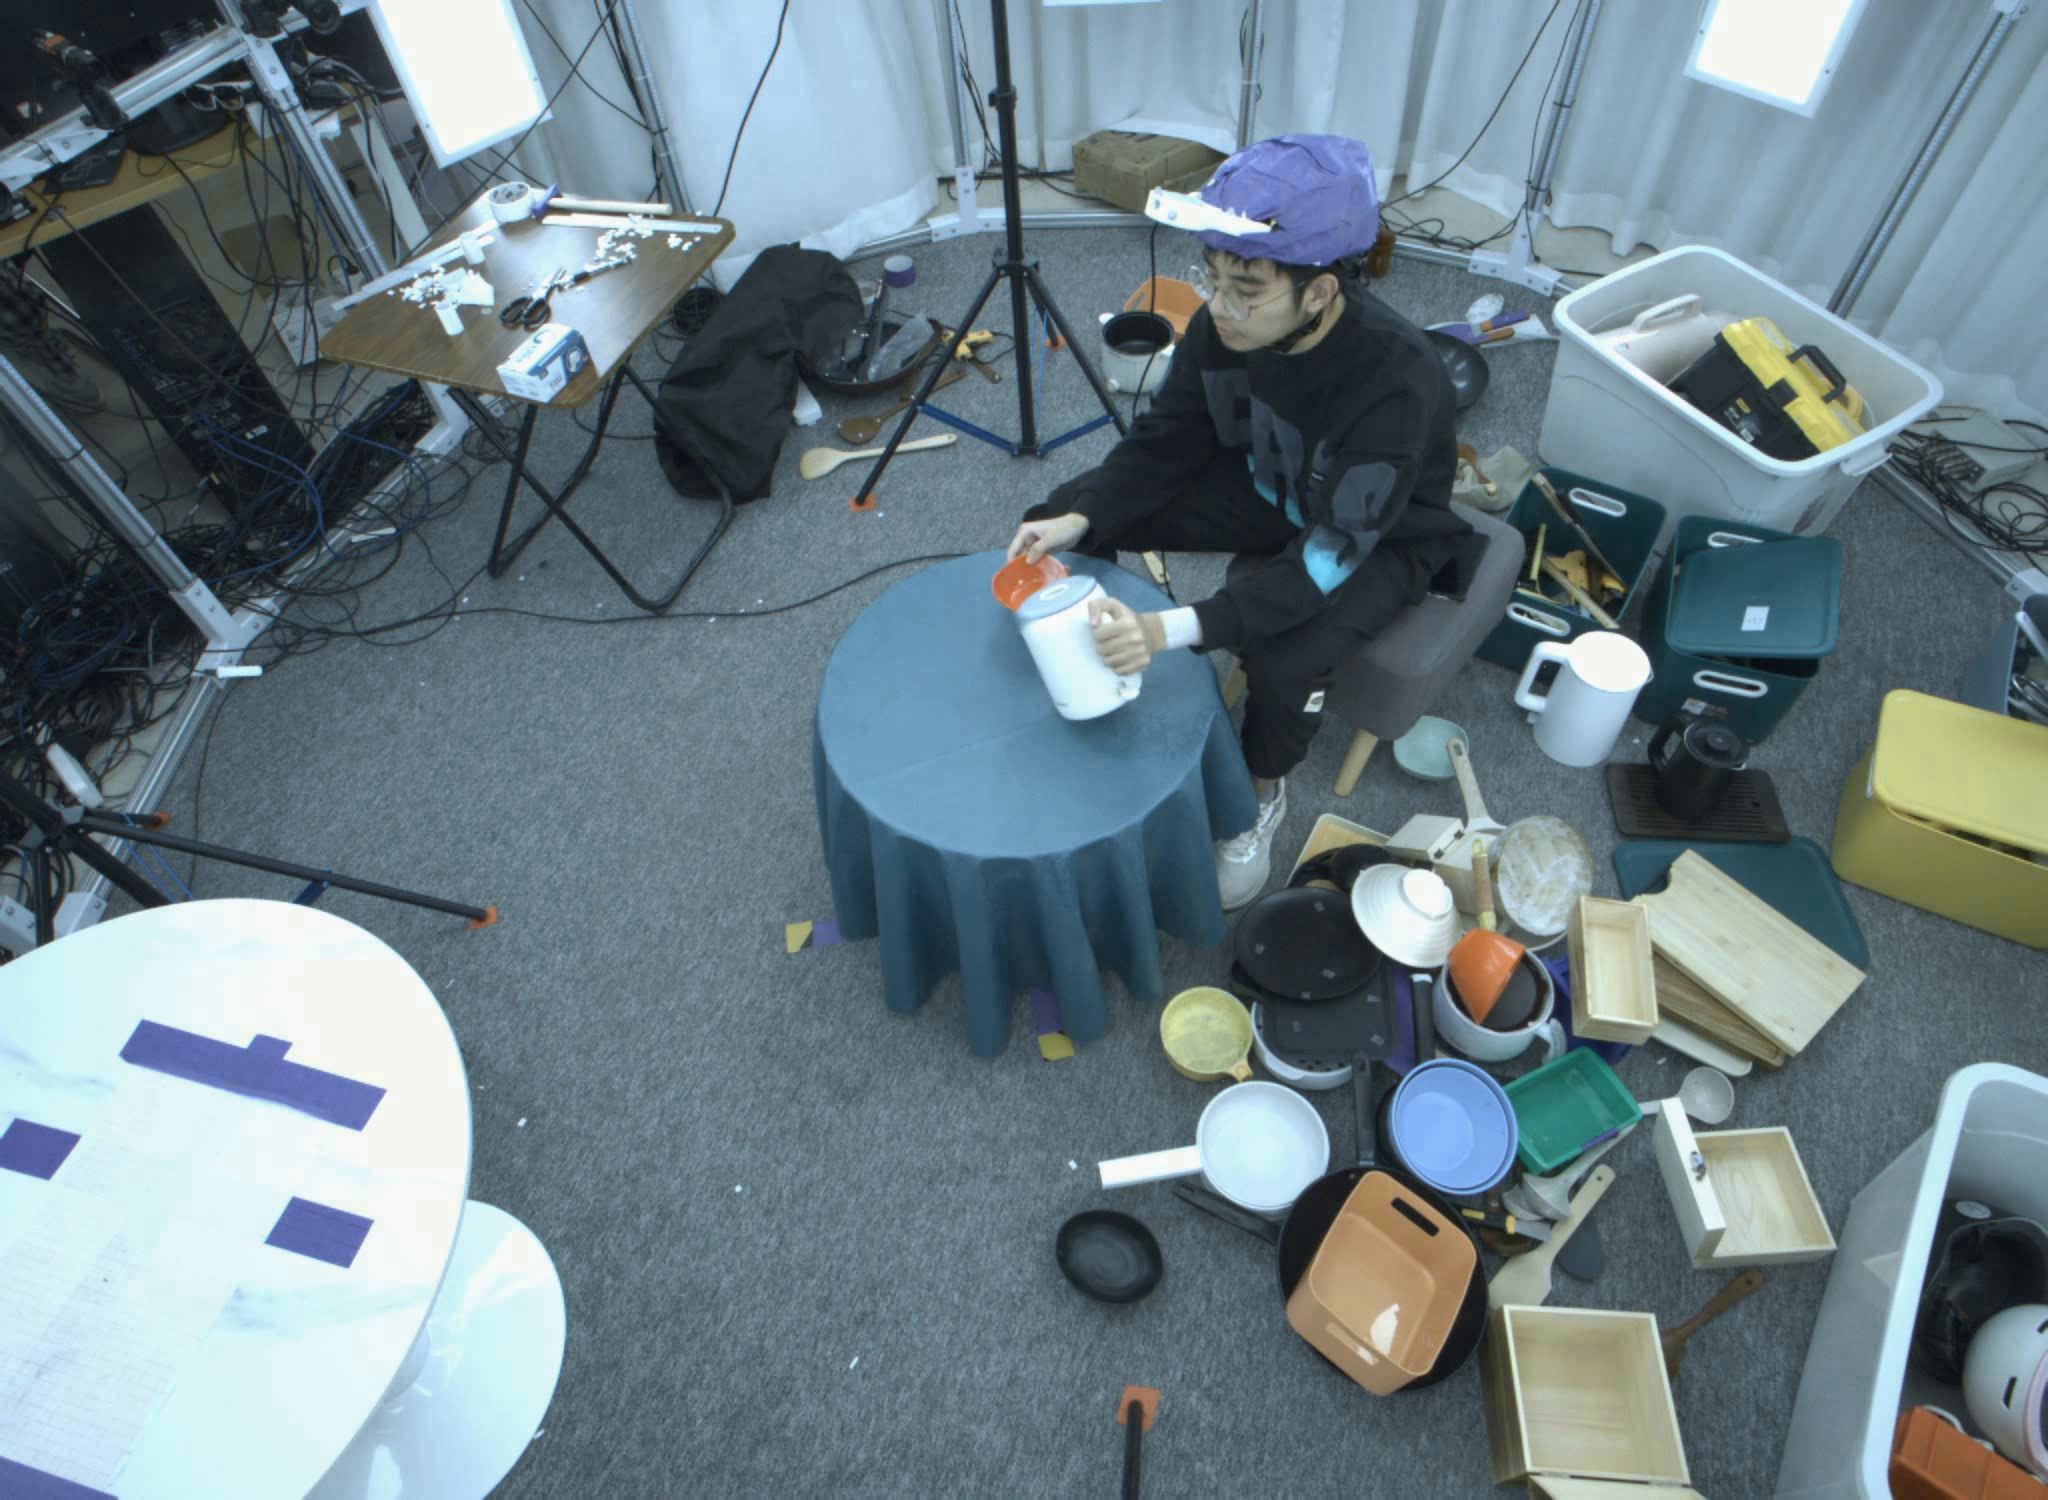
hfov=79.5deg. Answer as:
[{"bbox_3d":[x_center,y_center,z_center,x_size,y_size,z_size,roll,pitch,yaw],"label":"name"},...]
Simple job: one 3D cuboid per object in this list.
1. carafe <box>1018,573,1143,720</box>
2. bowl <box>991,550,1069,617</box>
[{"bbox_3d":[0.092,-0.142,1.723,0.133,0.185,0.187,-38,30,-23],"label":"carafe"},{"bbox_3d":[0.013,-0.241,1.857,0.118,0.052,0.118,-4,58,8],"label":"bowl"}]
